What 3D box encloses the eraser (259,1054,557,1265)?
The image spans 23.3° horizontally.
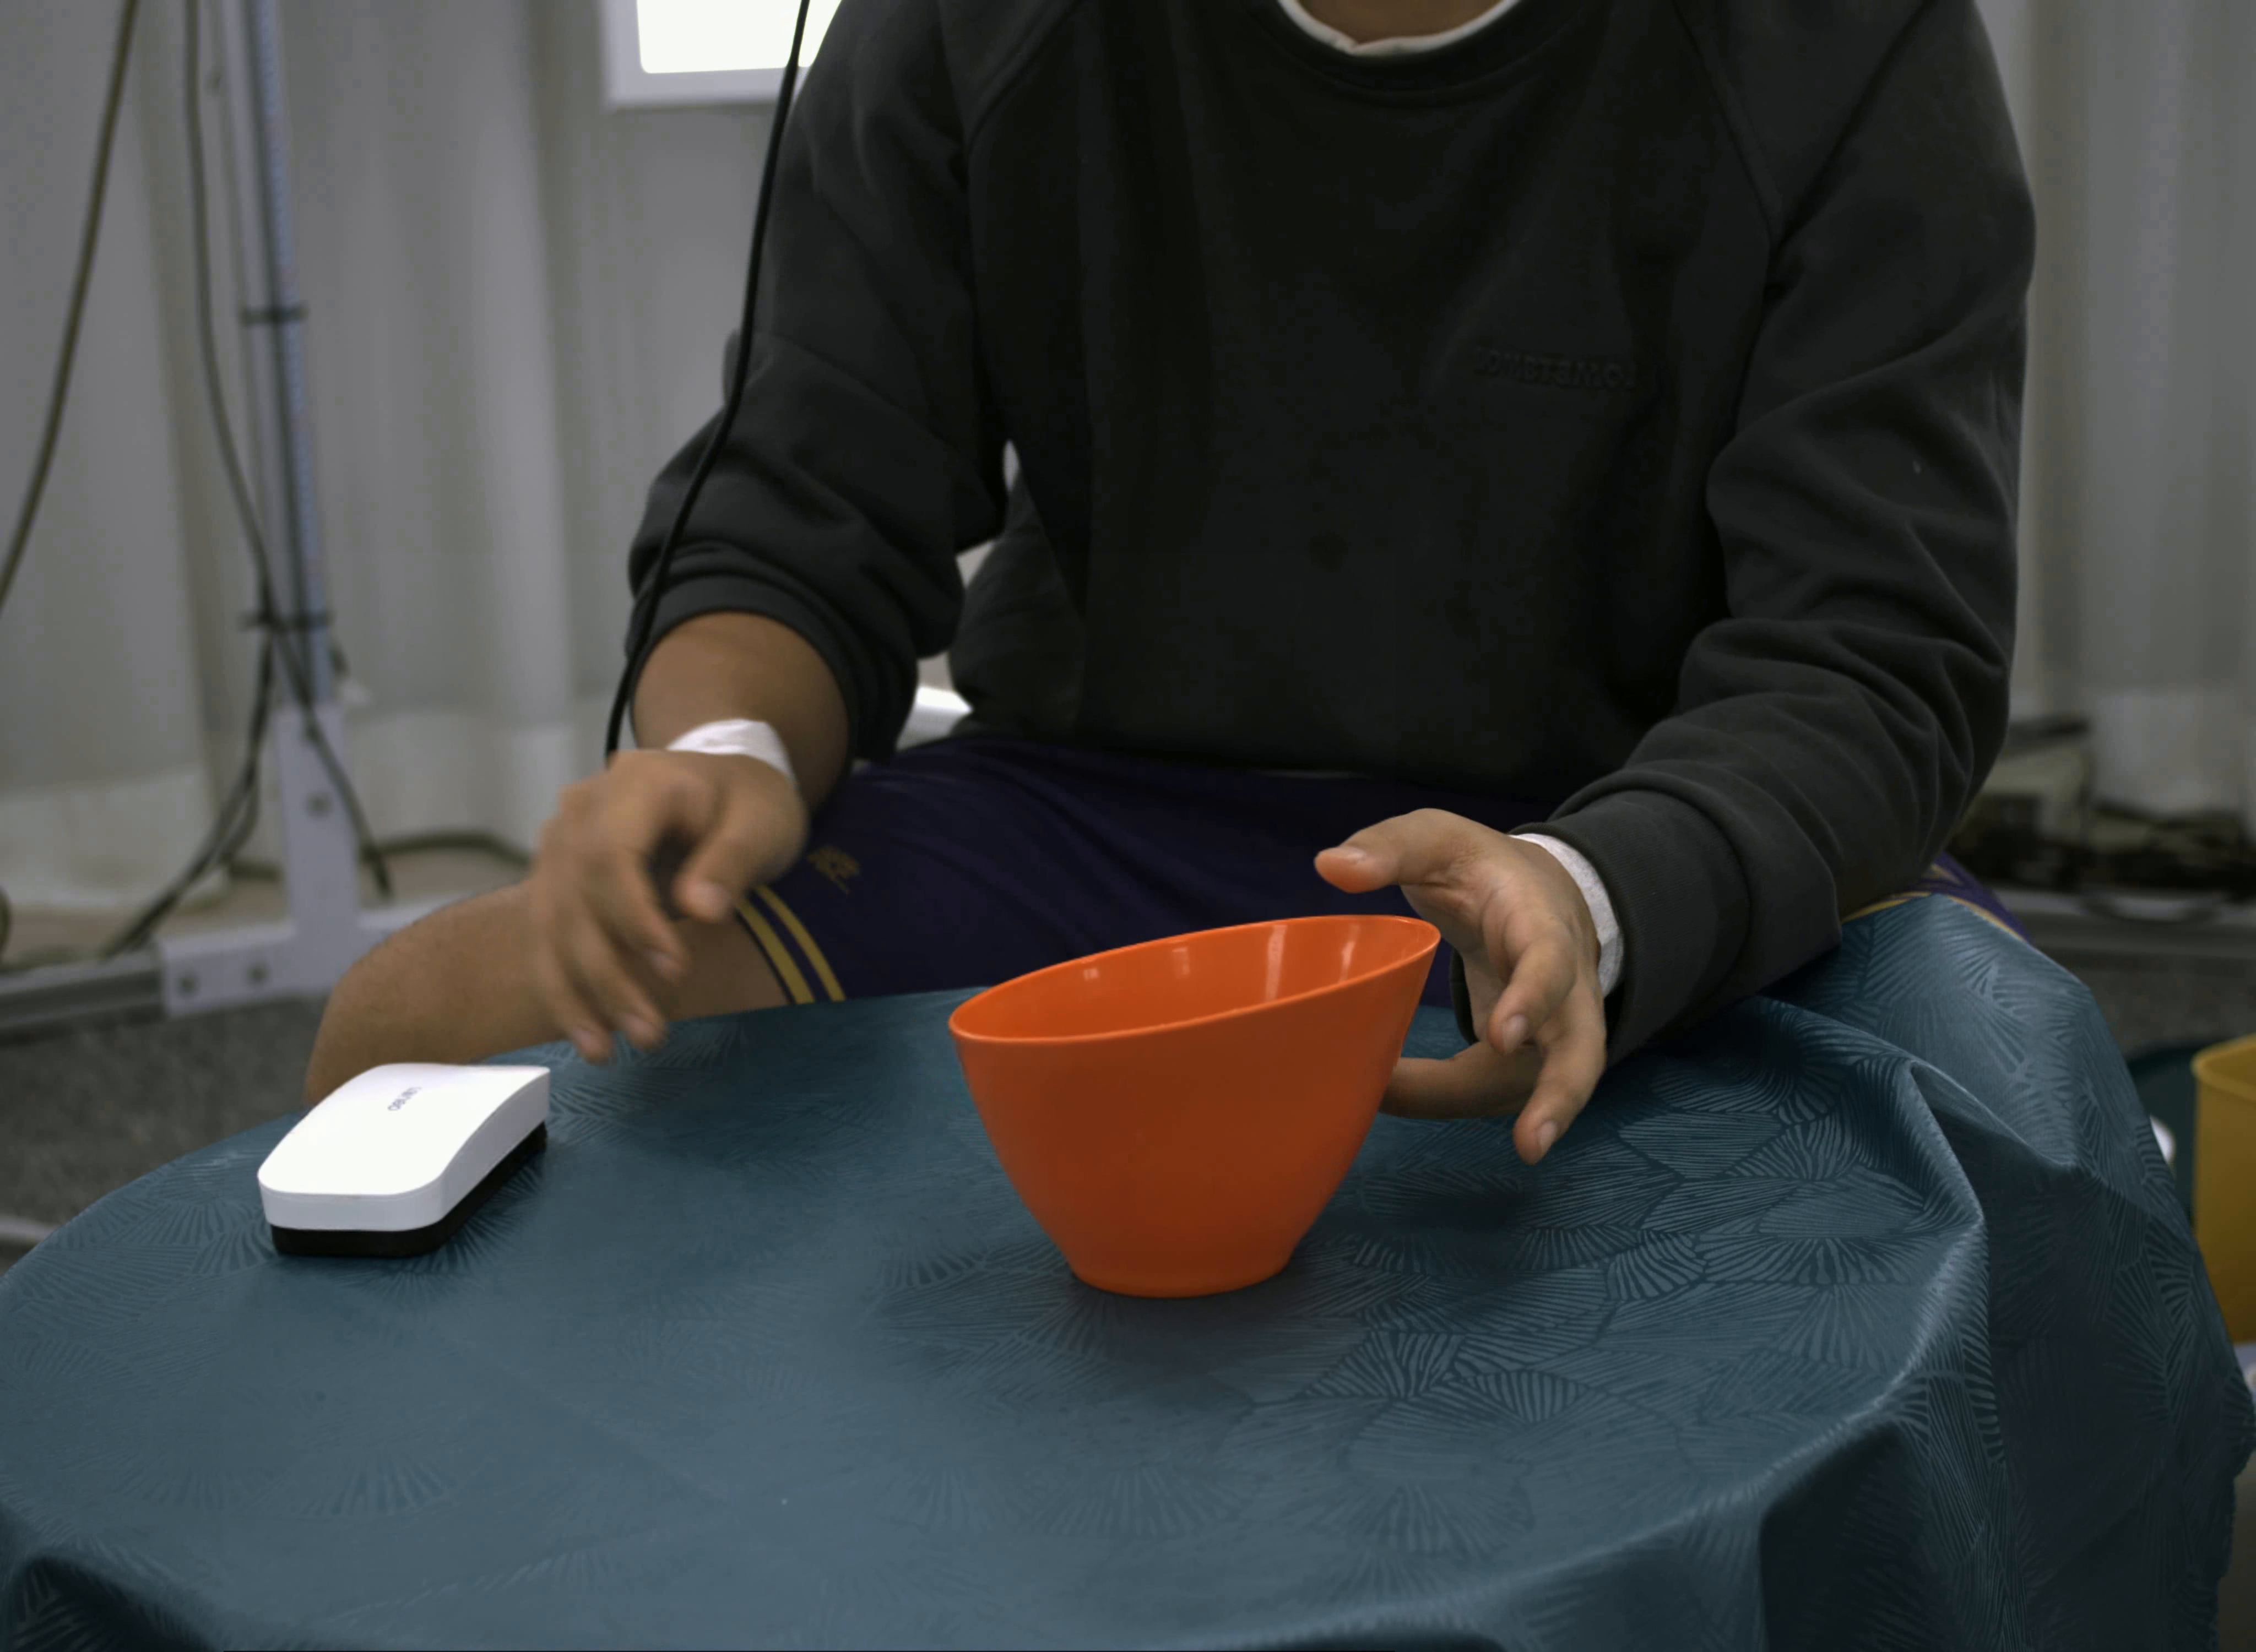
[{"bbox_3d":[-0.227,0.102,1.745,0.063,0.034,0.132,2,17,15],"label":"eraser"}]

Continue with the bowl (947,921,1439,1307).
[{"bbox_3d":[0.021,0.086,1.629,0.147,0.104,0.149,-4,14,1],"label":"bowl"}]
